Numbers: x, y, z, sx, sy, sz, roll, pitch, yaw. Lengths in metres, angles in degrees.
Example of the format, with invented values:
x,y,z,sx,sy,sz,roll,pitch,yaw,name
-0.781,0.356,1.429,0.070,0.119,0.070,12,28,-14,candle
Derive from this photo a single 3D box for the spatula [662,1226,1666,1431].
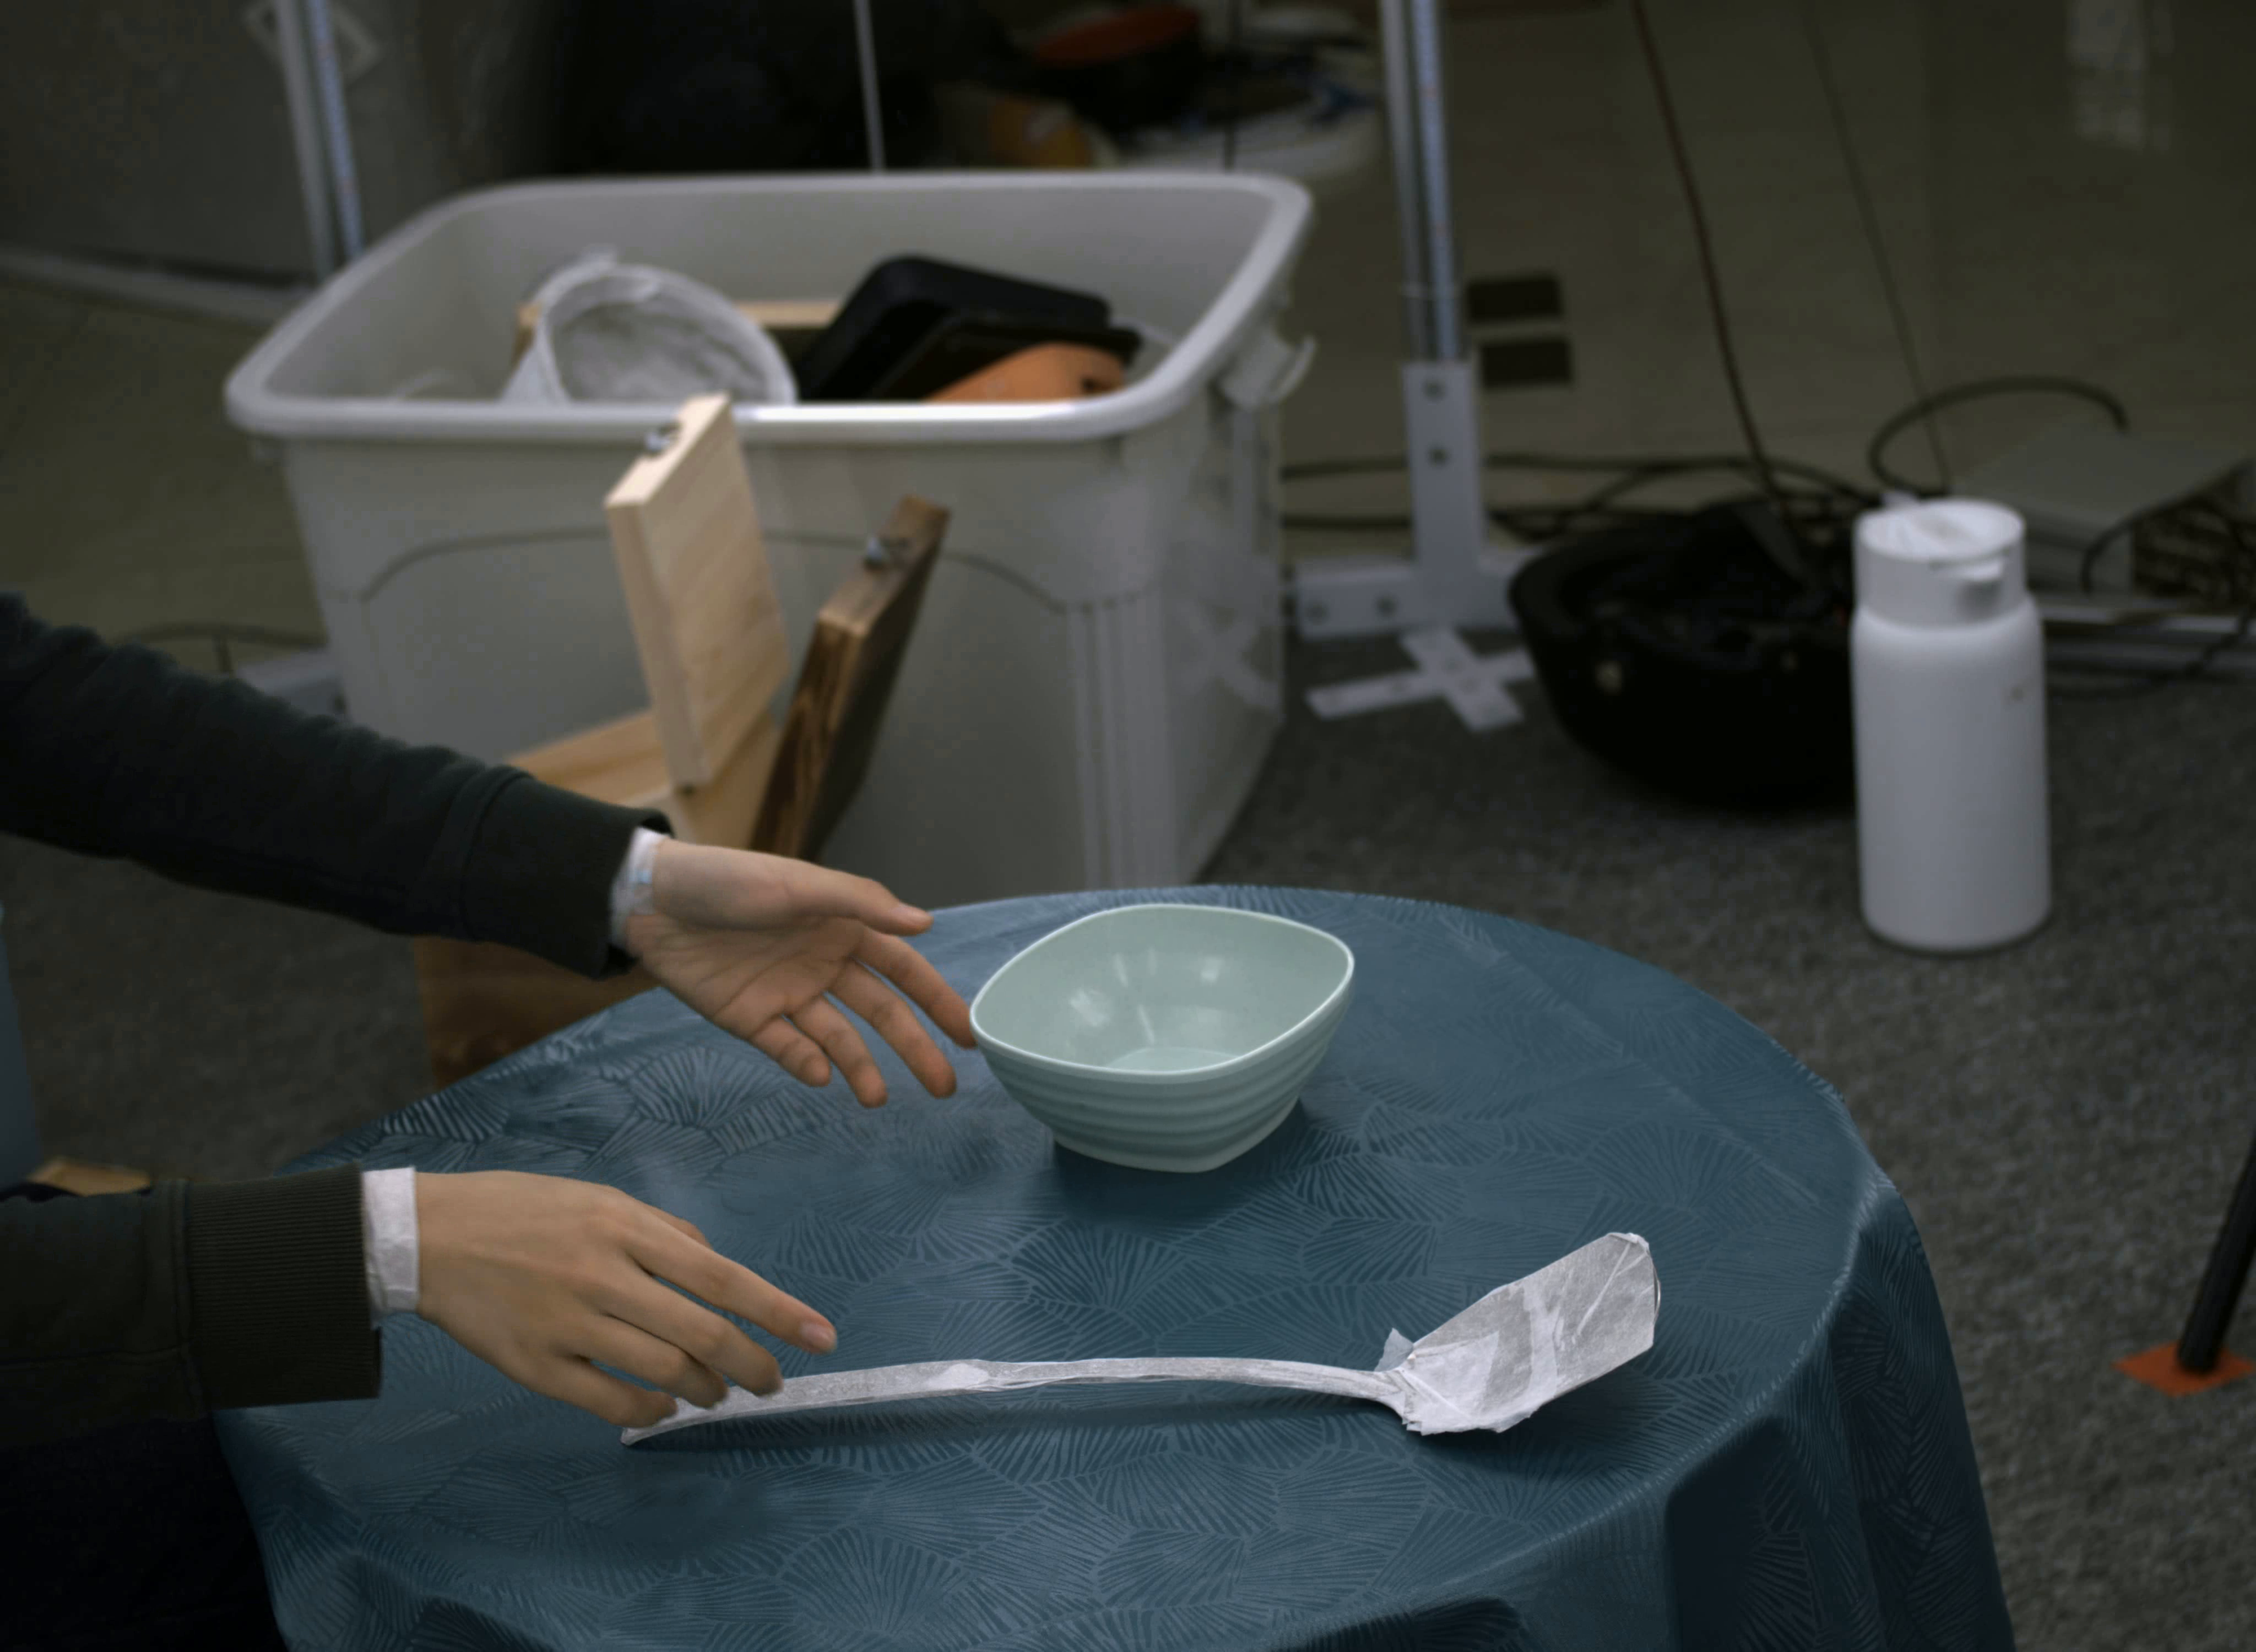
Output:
x,y,z,sx,sy,sz,roll,pitch,yaw,name
0.008,0.187,2.002,0.364,0.045,0.097,-3,27,8,spatula

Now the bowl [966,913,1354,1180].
x,y,z,sx,sy,sz,roll,pitch,yaw,name
0.014,0.090,2.190,0.151,0.059,0.149,-3,24,2,bowl
